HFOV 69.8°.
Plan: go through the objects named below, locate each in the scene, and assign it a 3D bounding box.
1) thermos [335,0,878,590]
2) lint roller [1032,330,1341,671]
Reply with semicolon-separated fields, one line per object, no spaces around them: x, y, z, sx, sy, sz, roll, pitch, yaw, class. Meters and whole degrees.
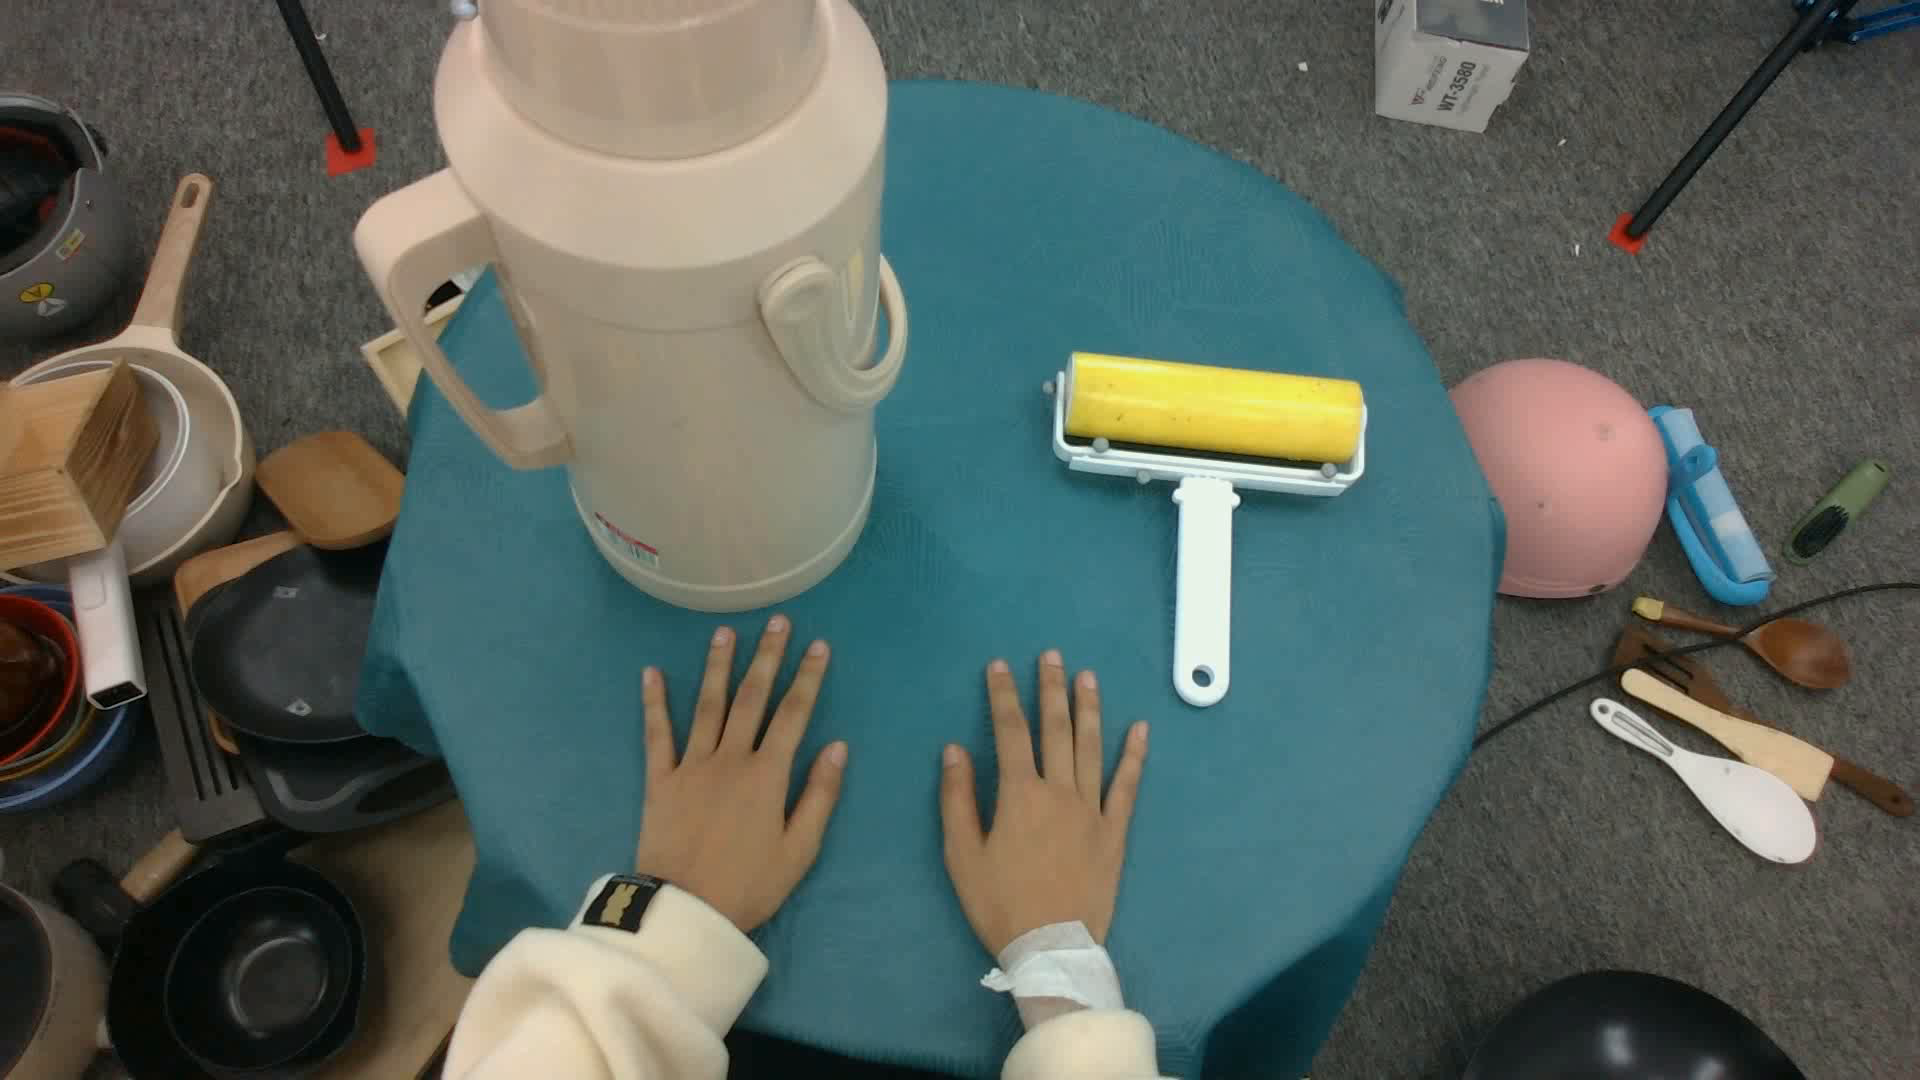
-0.131;-0.121;0.569;0.207;0.404;0.175;-33;73;-19;thermos
0.125;-0.026;0.740;0.174;0.051;0.193;5;57;-4;lint roller
